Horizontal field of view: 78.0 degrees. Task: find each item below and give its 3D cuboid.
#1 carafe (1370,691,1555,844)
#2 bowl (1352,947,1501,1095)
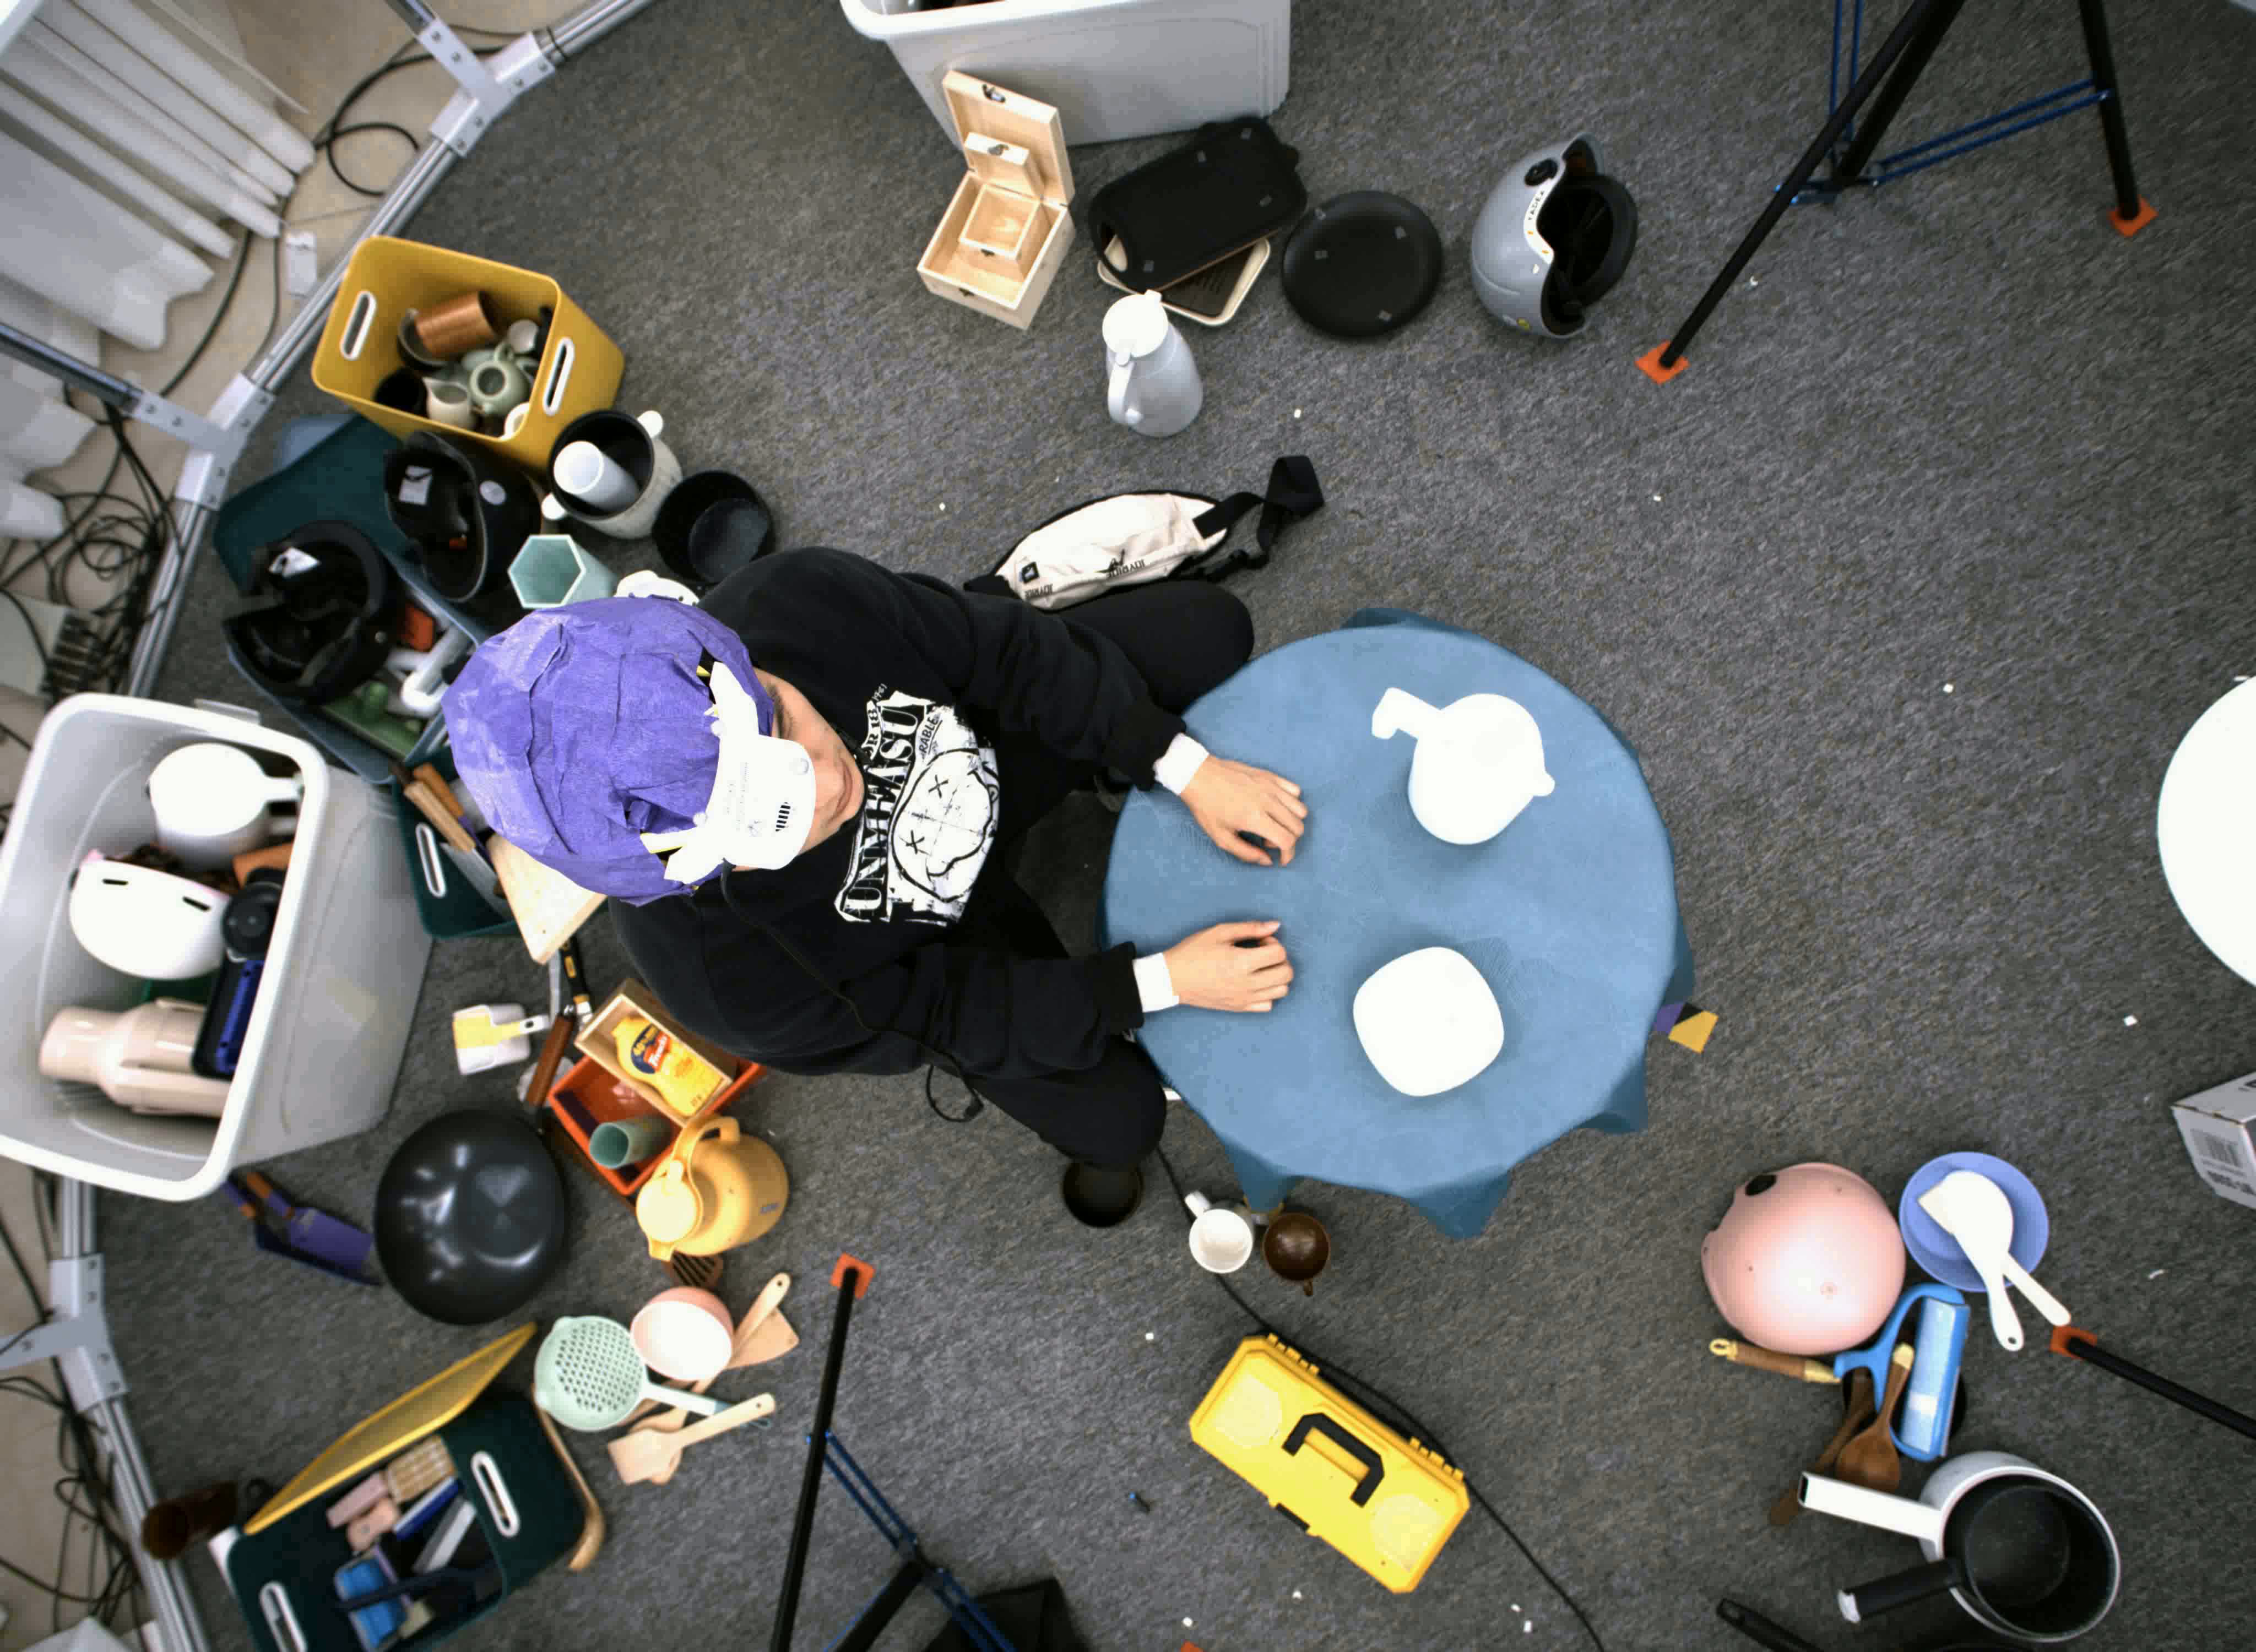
[{"bbox_3d":[0.315,-0.061,1.323,0.172,0.268,0.124,29,92,11],"label":"carafe"},{"bbox_3d":[0.305,0.198,1.421,0.152,0.058,0.151,-1,86,10],"label":"bowl"}]
